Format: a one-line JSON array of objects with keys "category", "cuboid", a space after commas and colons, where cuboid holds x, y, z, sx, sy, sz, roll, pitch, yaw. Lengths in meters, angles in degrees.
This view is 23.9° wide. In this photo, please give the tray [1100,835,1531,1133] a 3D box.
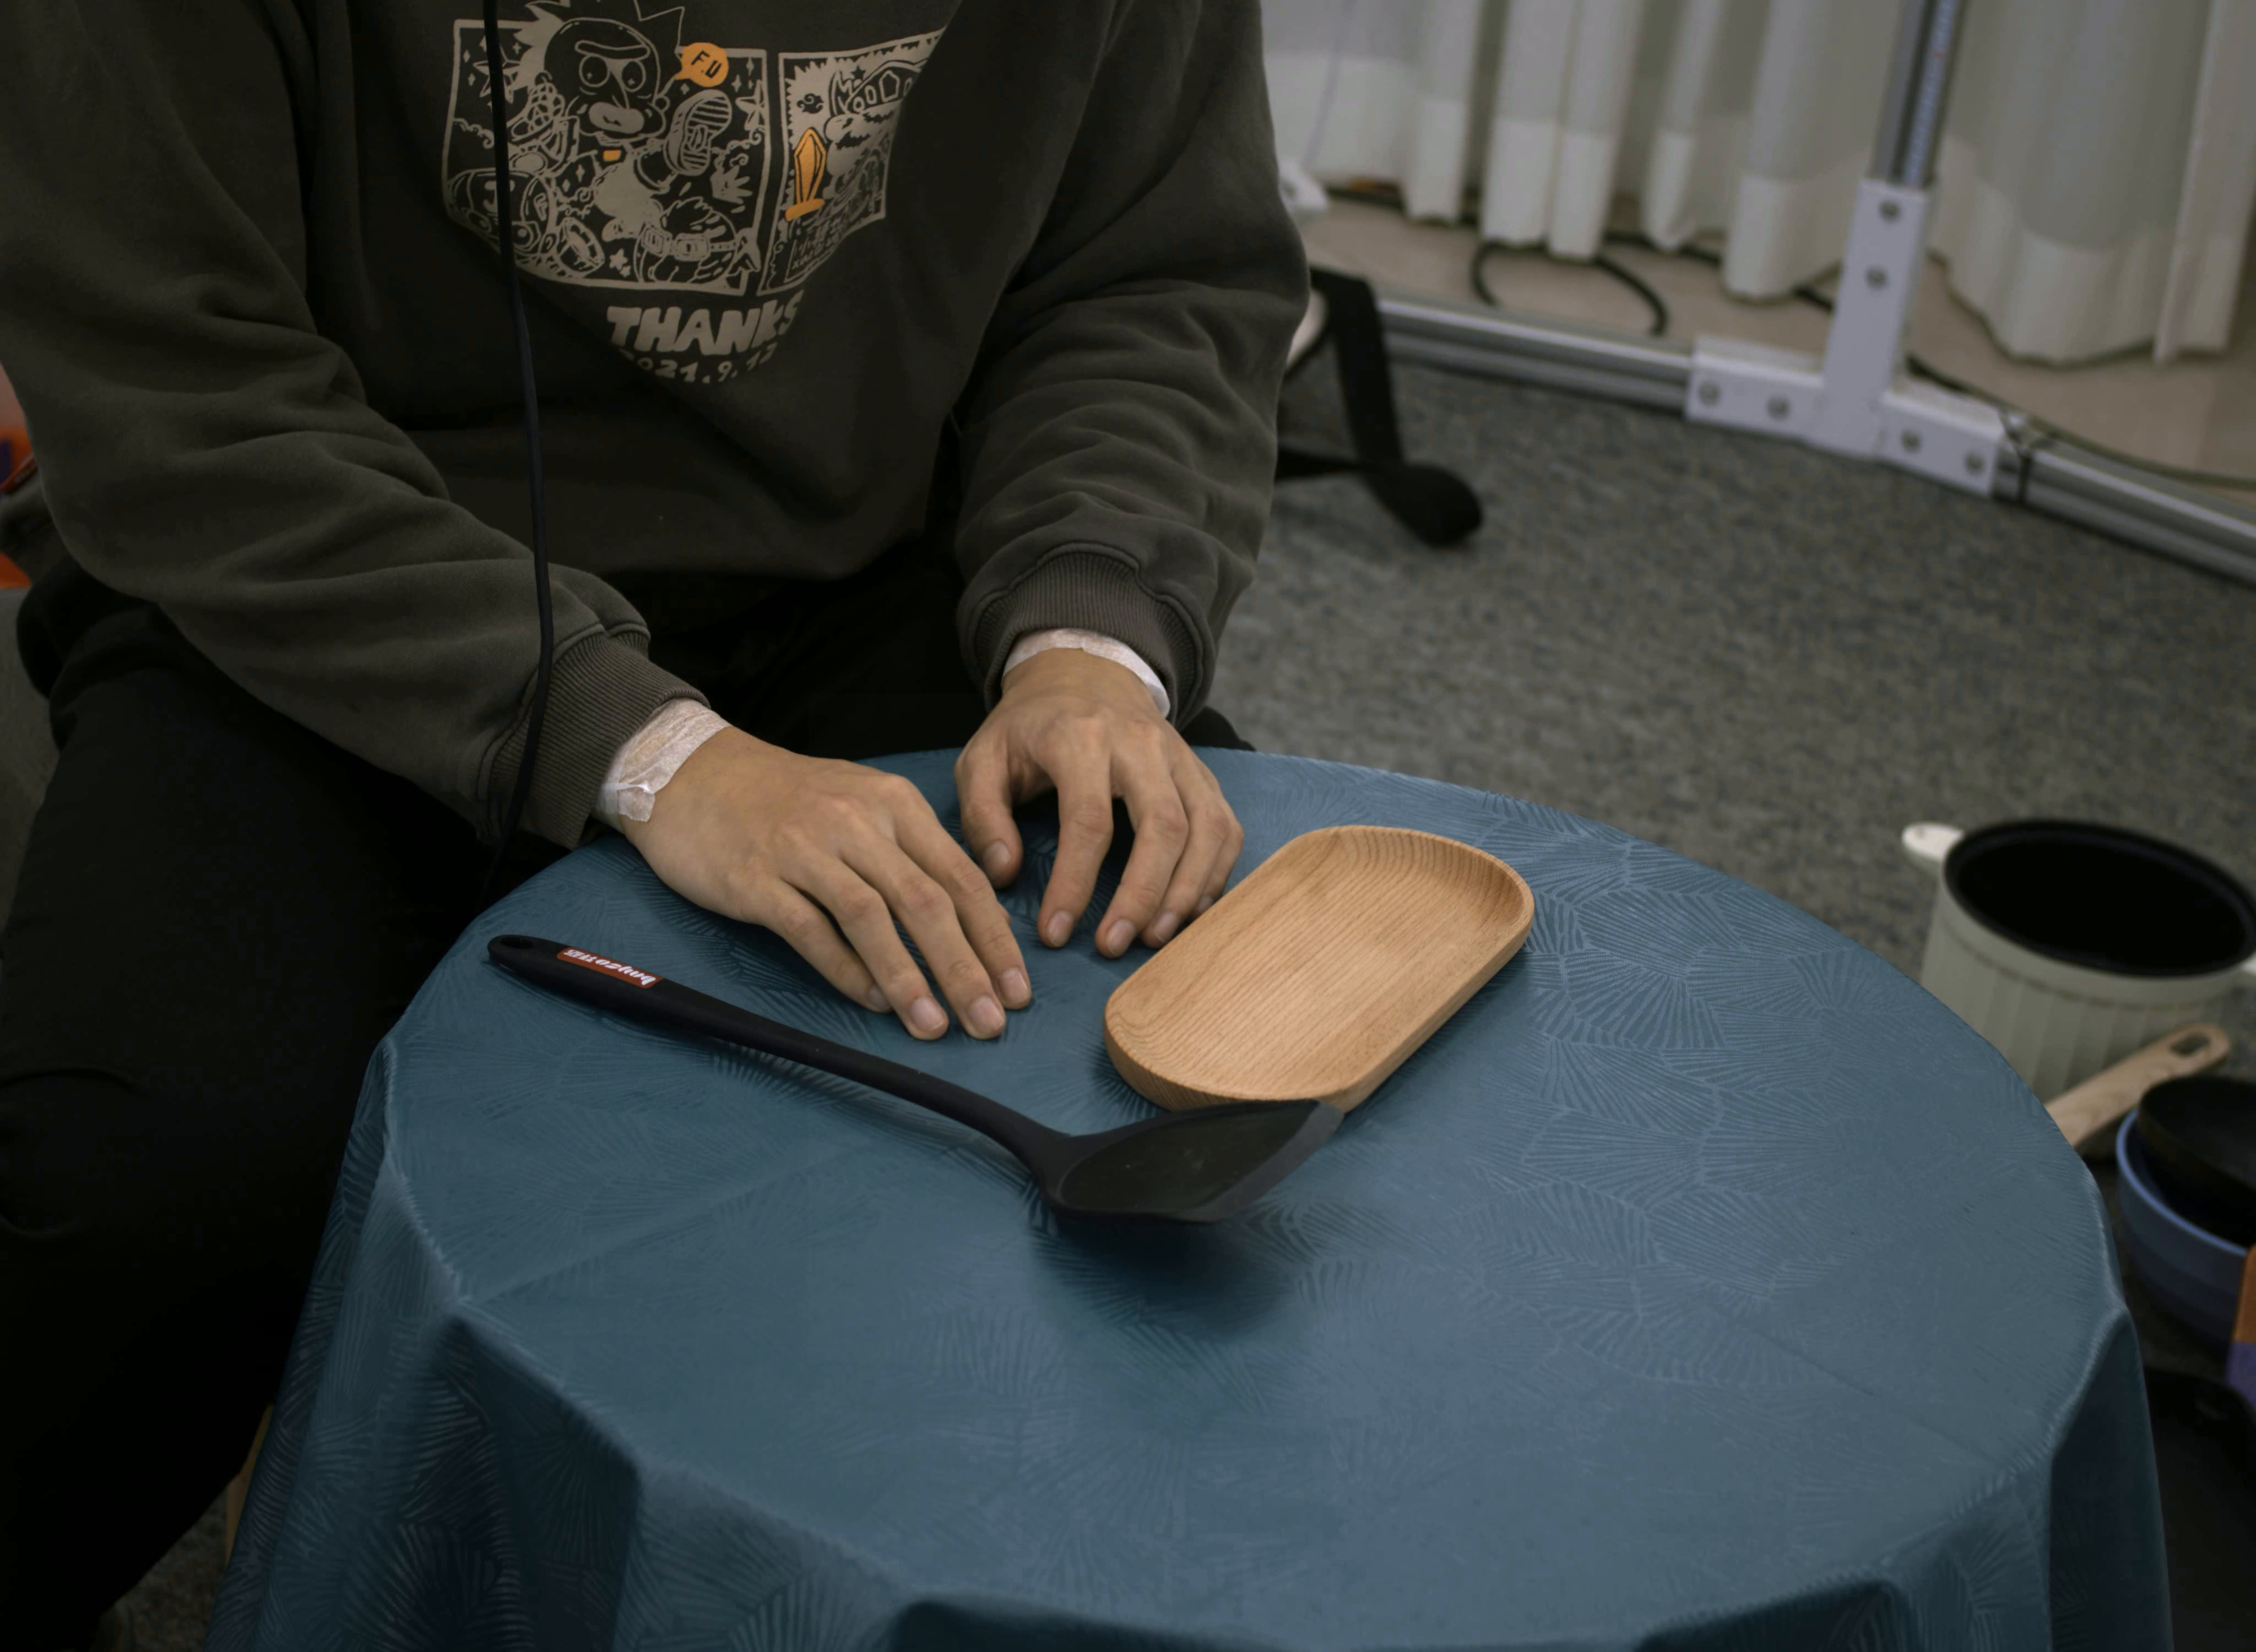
[{"category": "tray", "cuboid": [0.070, 0.056, 1.937, 0.102, 0.020, 0.231, 18, 30, 22]}]

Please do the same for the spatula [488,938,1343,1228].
[{"category": "spatula", "cuboid": [-0.086, 0.080, 1.831, 0.327, 0.040, 0.099, 20, 28, 24]}]
